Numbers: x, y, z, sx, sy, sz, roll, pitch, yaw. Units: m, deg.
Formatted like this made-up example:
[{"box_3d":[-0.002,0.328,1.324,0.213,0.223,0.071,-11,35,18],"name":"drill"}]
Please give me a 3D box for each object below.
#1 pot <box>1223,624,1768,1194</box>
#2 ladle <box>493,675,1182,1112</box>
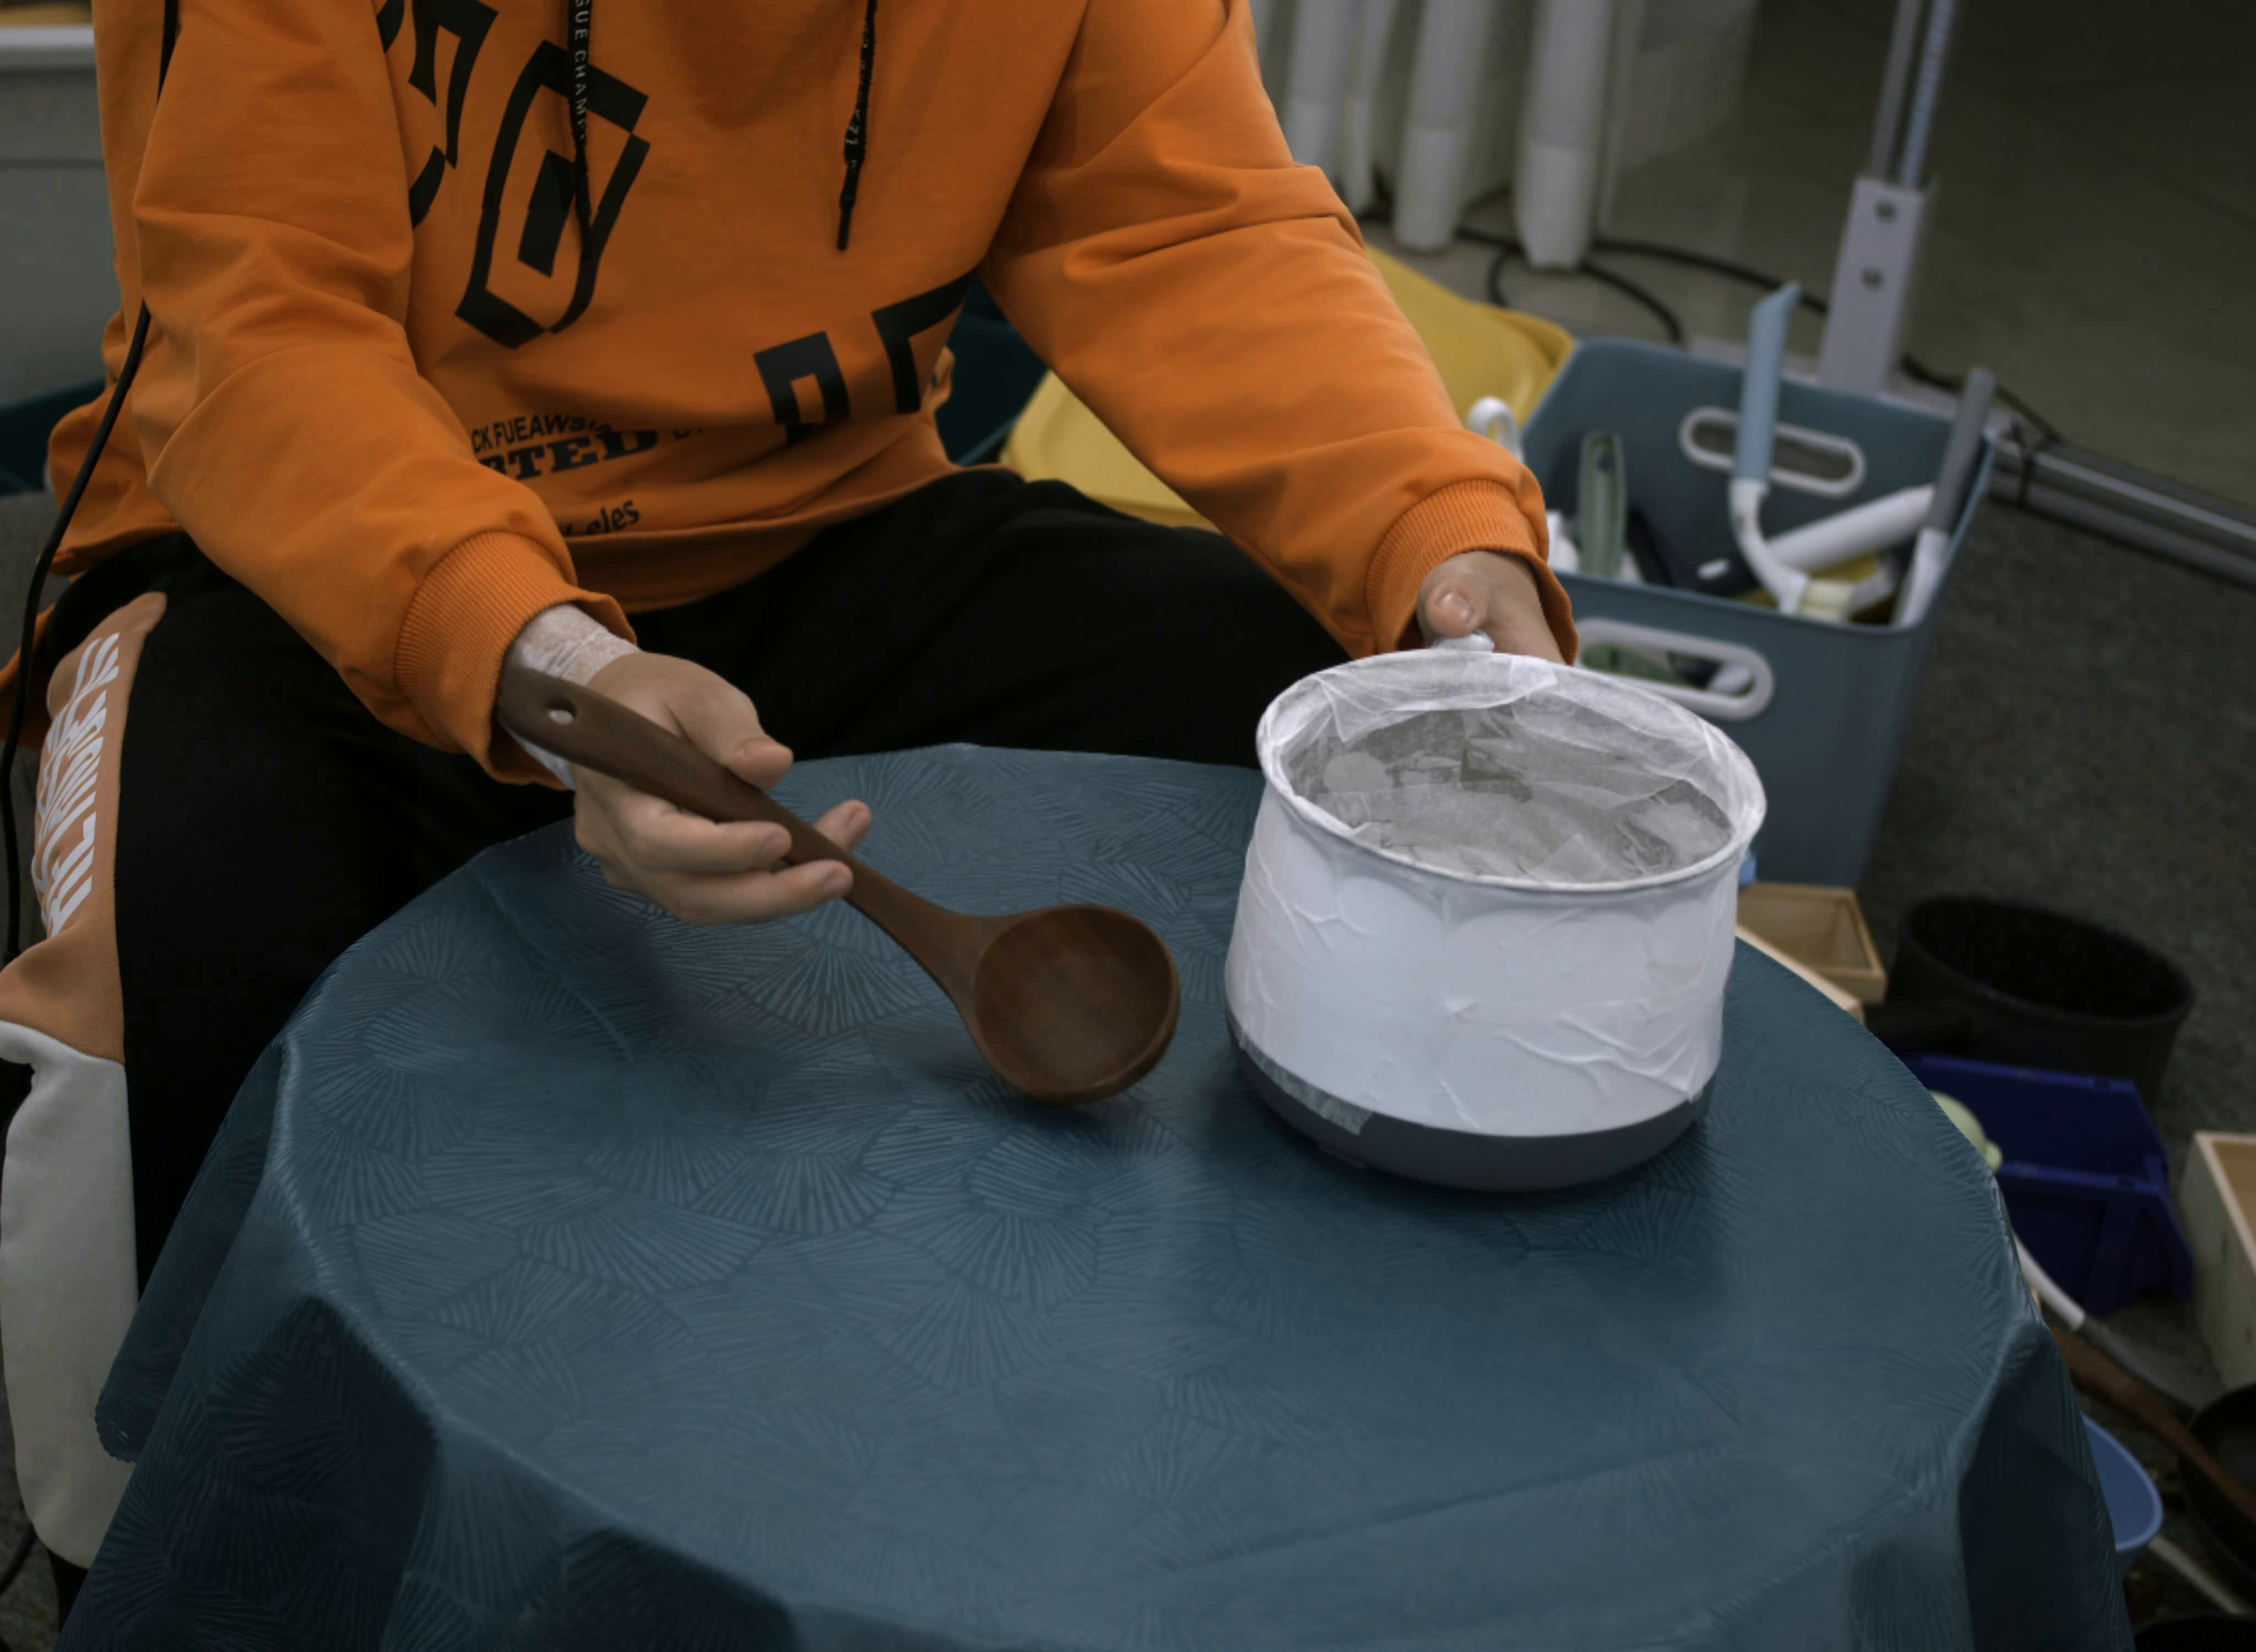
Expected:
[{"box_3d":[0.121,0.022,1.878,0.178,0.136,0.235,3,27,-9],"name":"pot"},{"box_3d":[-0.097,0.014,1.824,0.259,0.065,0.077,32,62,-15],"name":"ladle"}]
